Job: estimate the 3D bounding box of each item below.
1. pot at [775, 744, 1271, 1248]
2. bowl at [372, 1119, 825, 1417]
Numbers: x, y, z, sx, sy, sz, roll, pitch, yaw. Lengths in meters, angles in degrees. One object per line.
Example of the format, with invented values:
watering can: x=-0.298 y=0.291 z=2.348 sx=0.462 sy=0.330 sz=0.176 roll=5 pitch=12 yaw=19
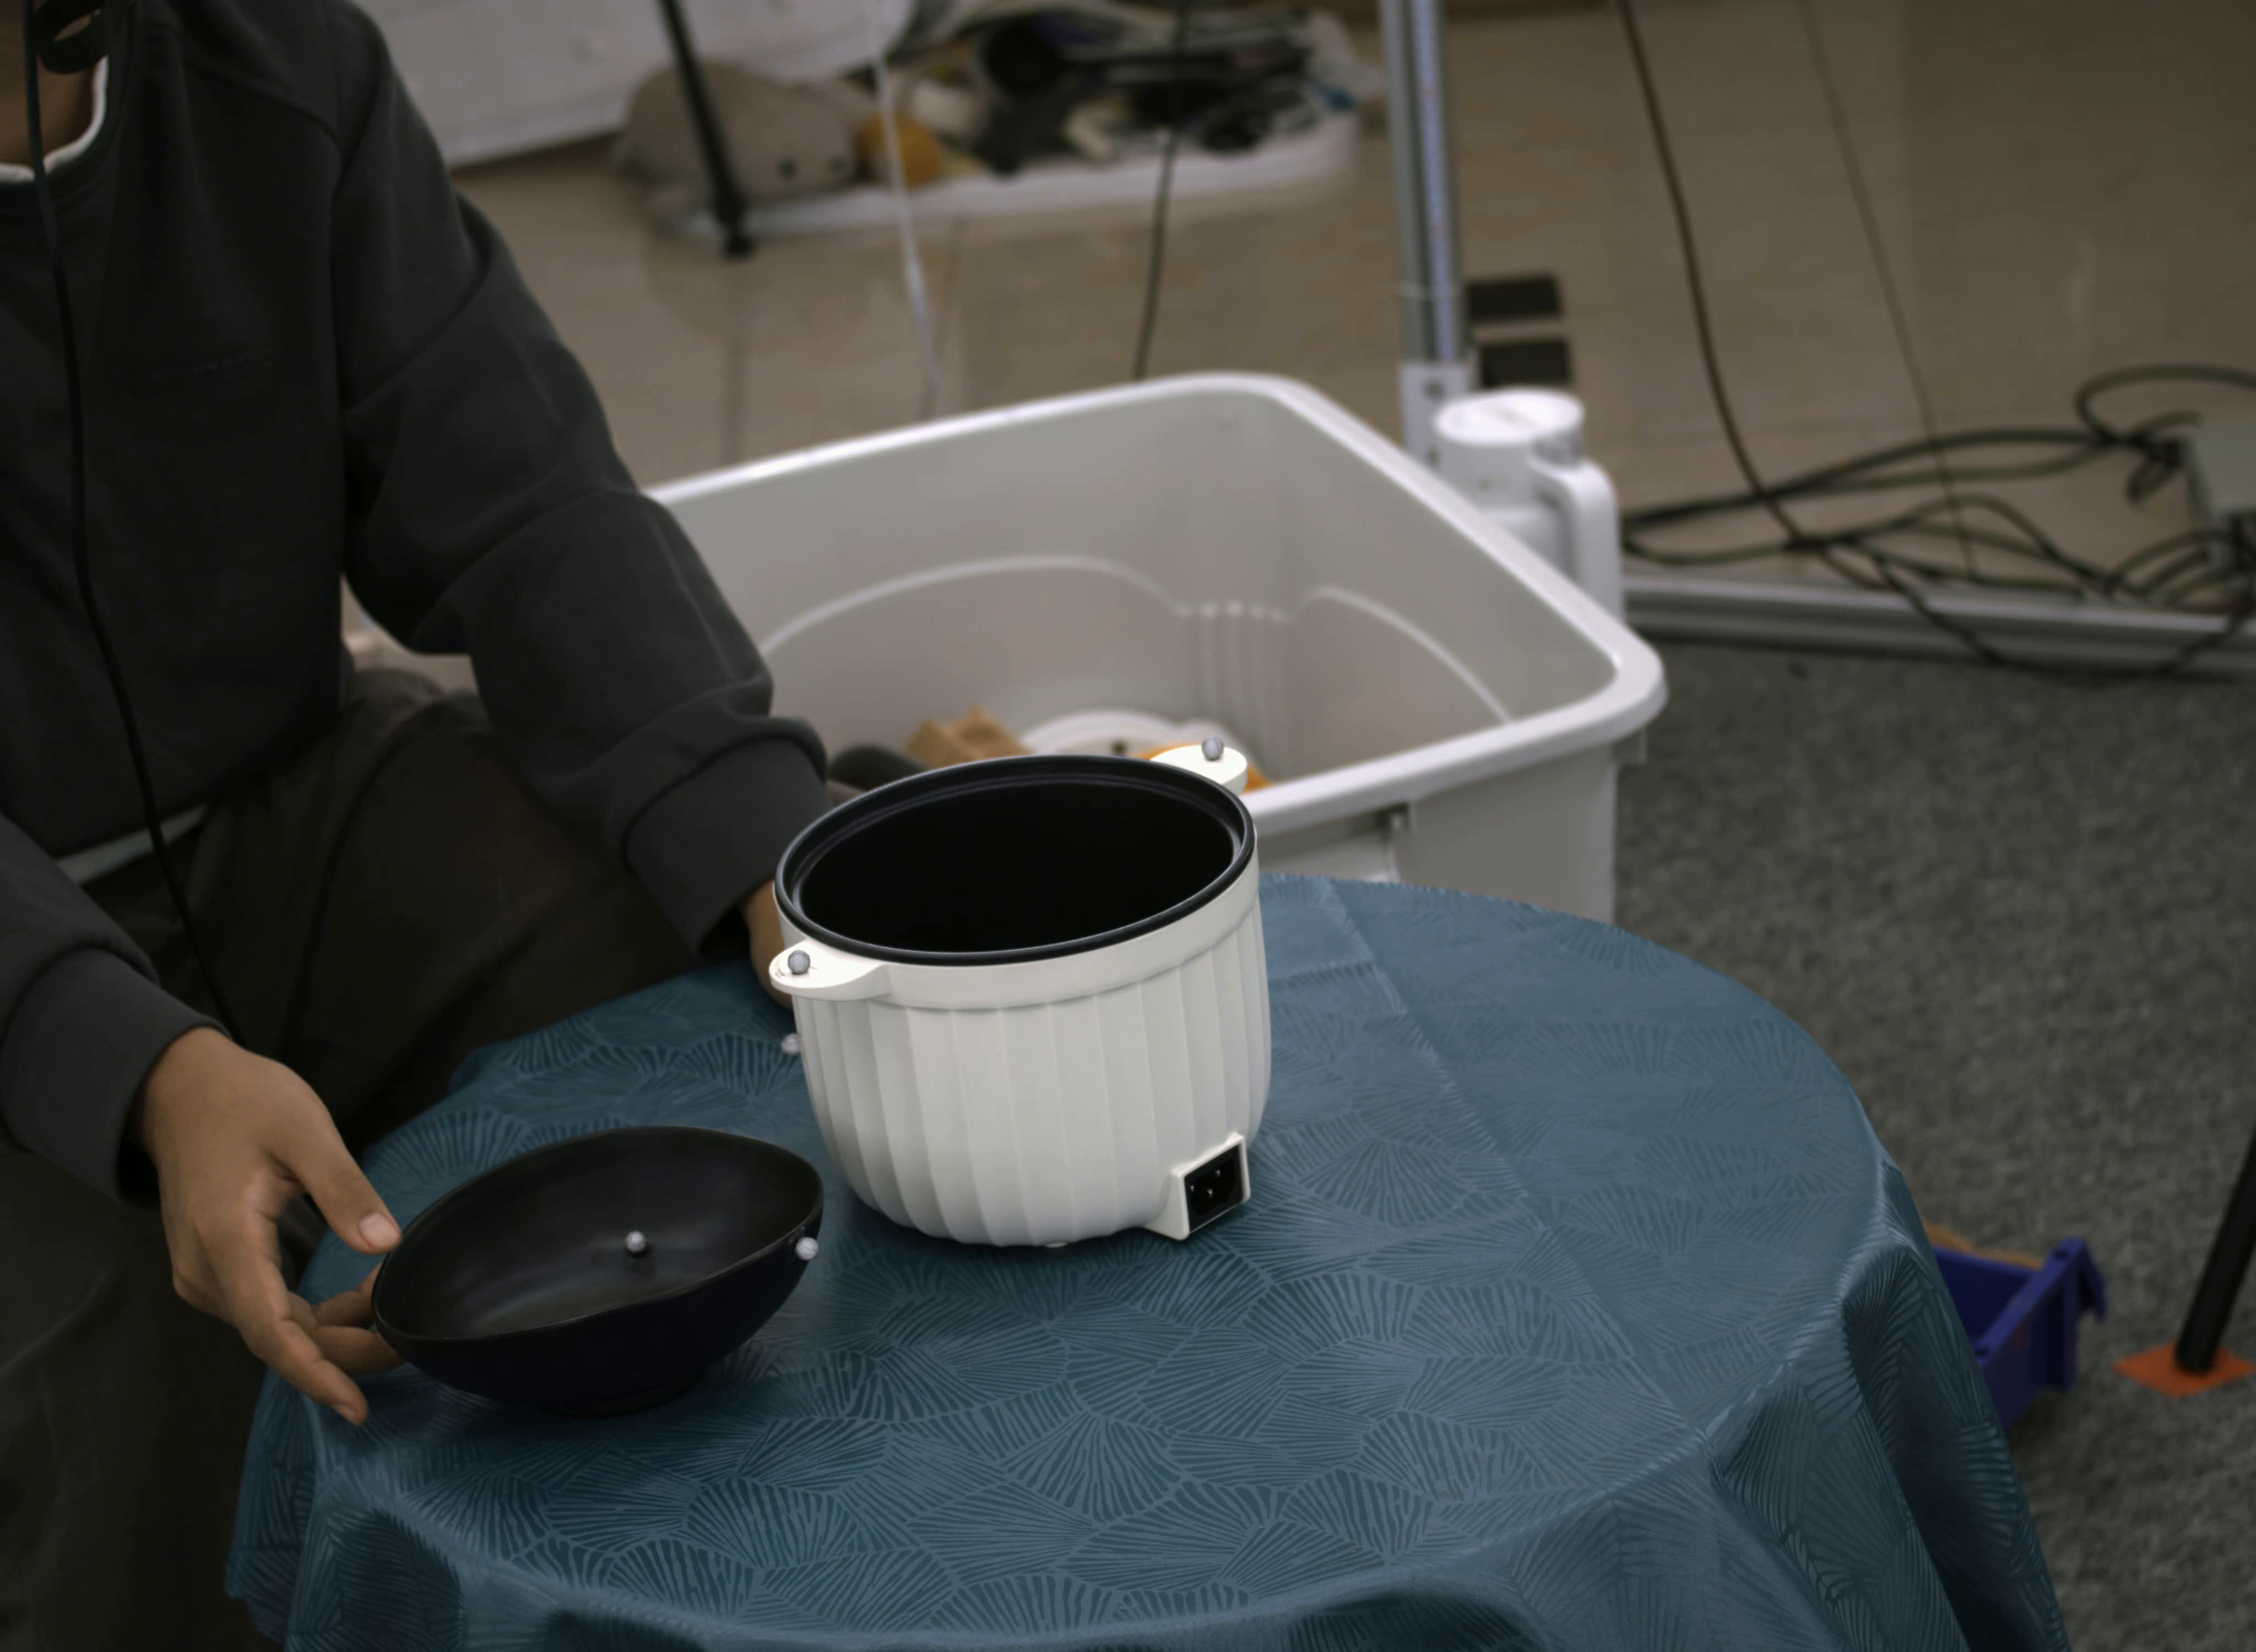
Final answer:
pot: x=-0.040 y=0.069 z=2.142 sx=0.189 sy=0.145 sz=0.238 roll=20 pitch=34 yaw=38
bowl: x=-0.187 y=0.169 z=2.050 sx=0.169 sy=0.068 sz=0.136 roll=-19 pitch=27 yaw=-22
